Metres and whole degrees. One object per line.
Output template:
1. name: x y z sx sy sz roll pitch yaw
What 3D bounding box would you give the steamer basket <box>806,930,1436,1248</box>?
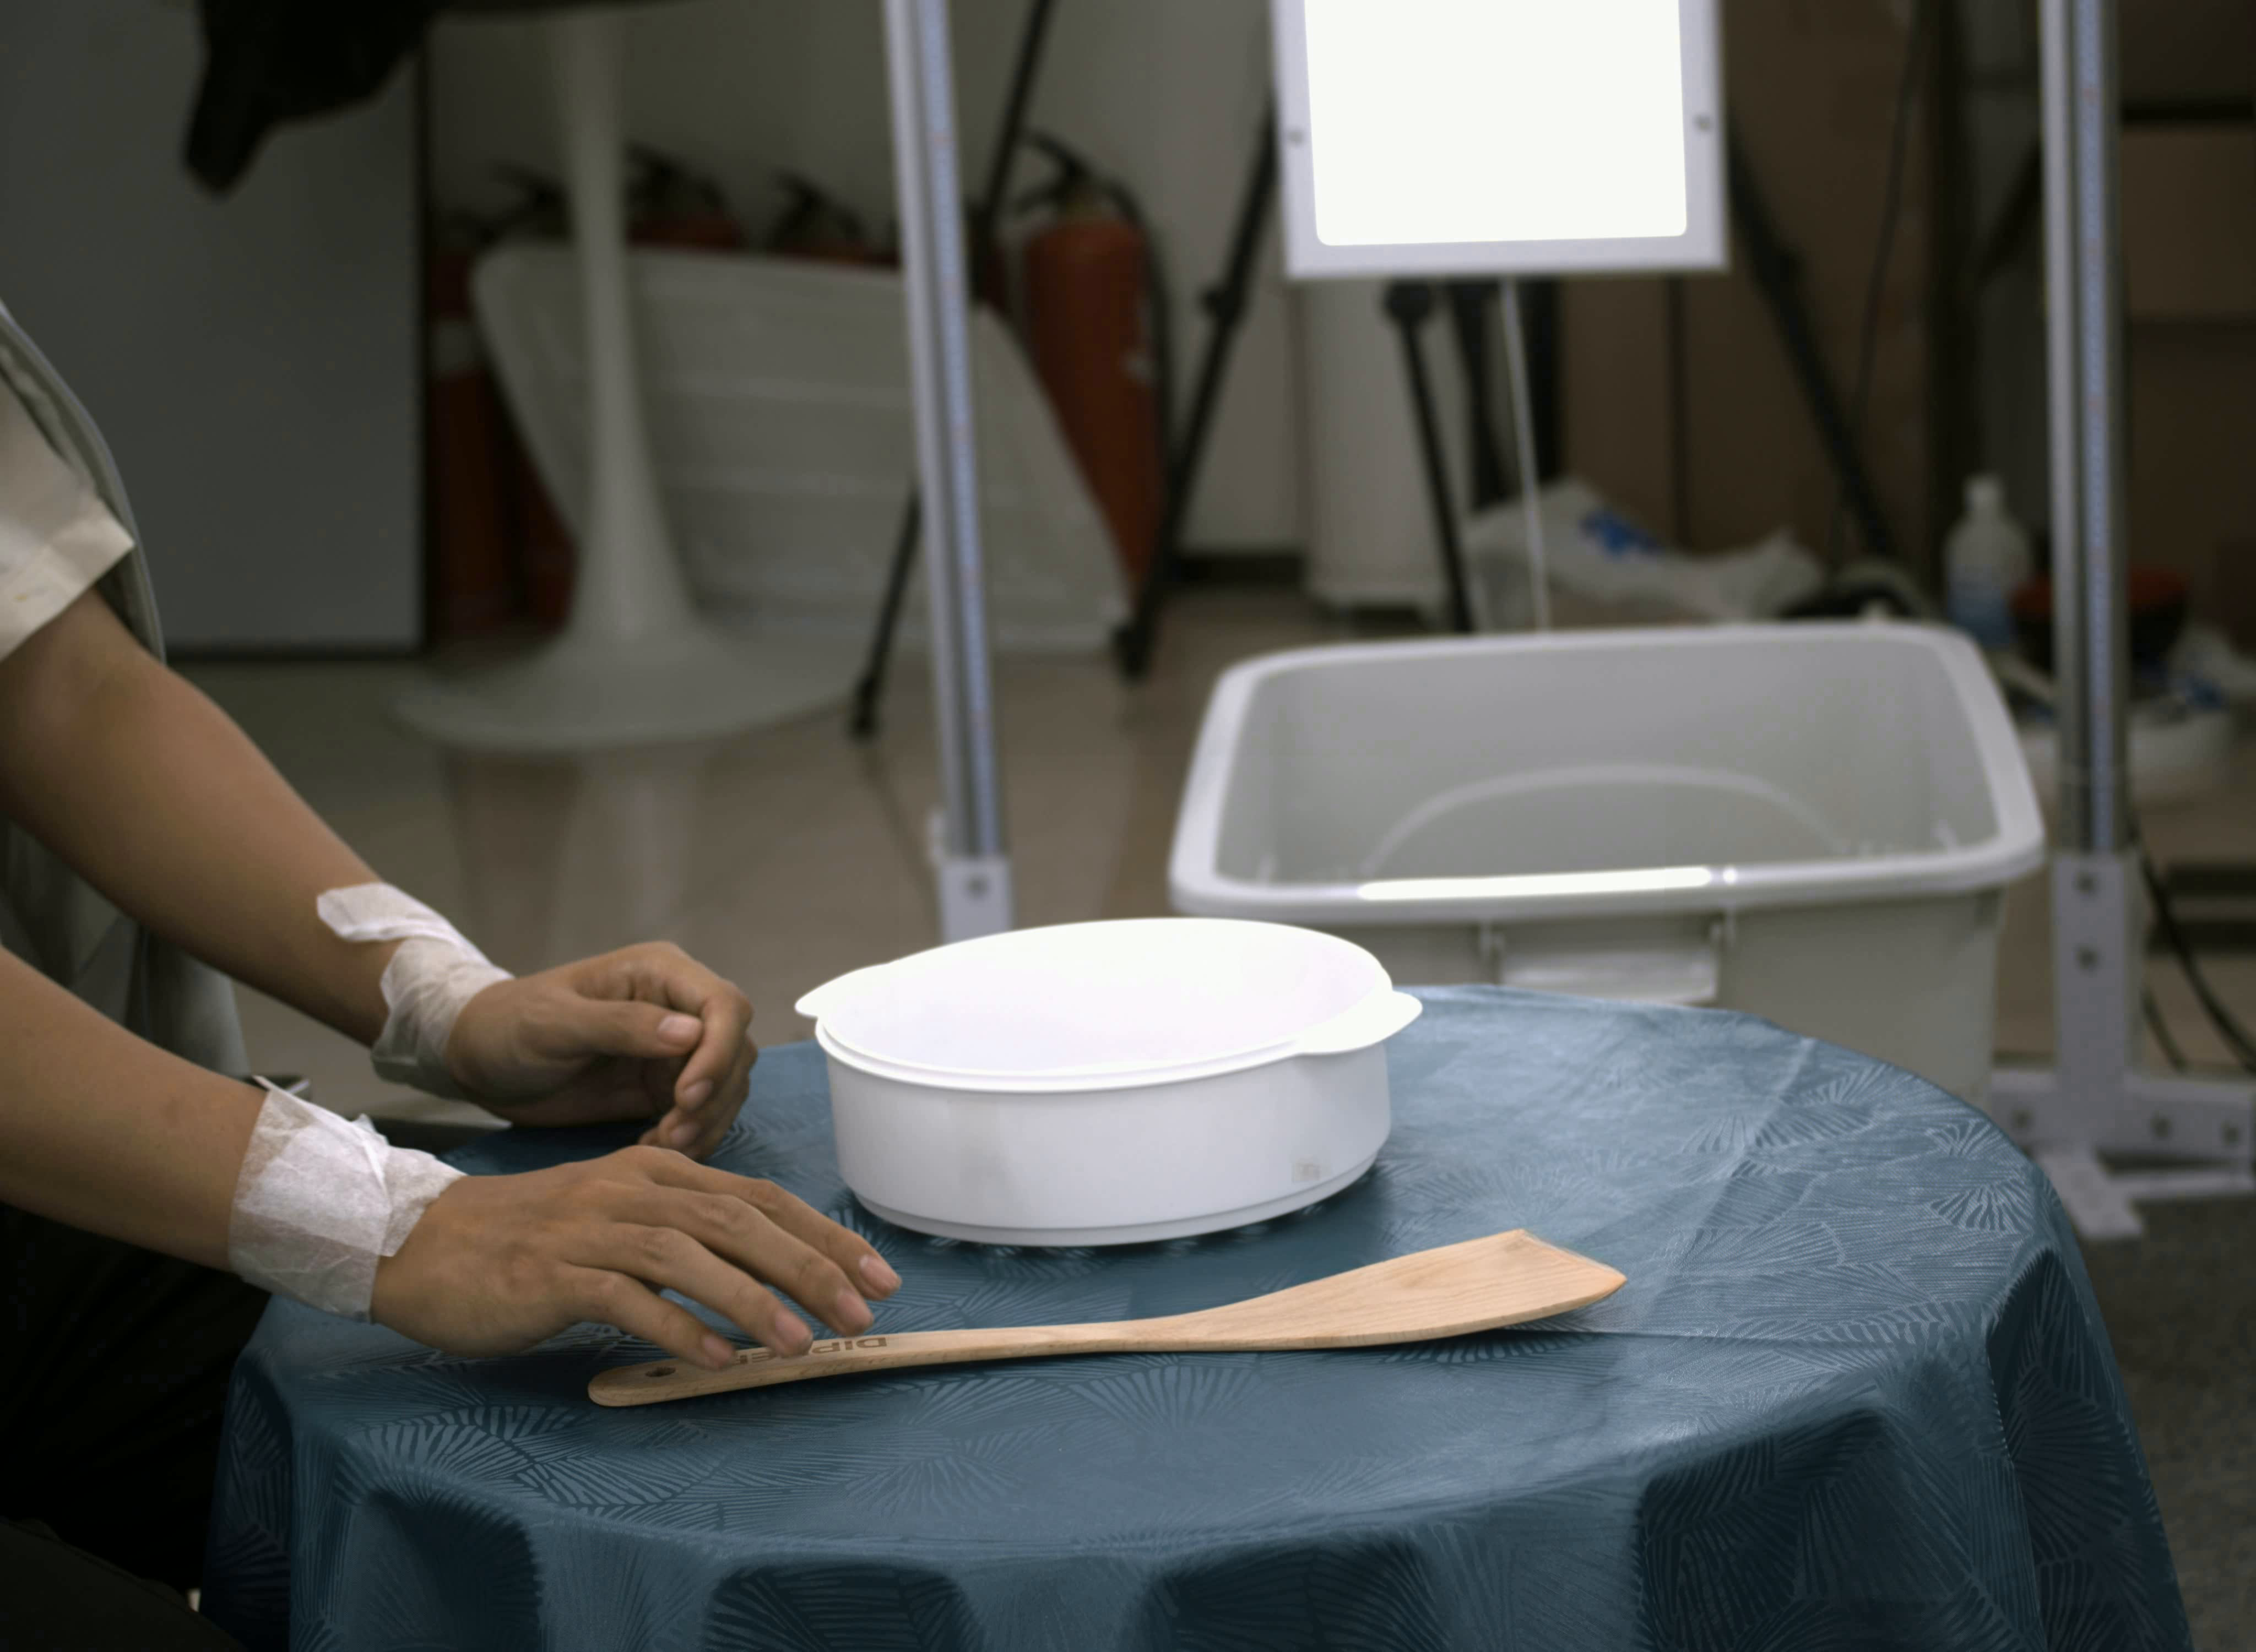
1. steamer basket: -0.002 0.091 1.907 0.235 0.069 0.197 2 14 30

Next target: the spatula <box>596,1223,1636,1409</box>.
1. spatula: -0.005 0.157 1.738 0.326 0.016 0.080 -6 13 -2
